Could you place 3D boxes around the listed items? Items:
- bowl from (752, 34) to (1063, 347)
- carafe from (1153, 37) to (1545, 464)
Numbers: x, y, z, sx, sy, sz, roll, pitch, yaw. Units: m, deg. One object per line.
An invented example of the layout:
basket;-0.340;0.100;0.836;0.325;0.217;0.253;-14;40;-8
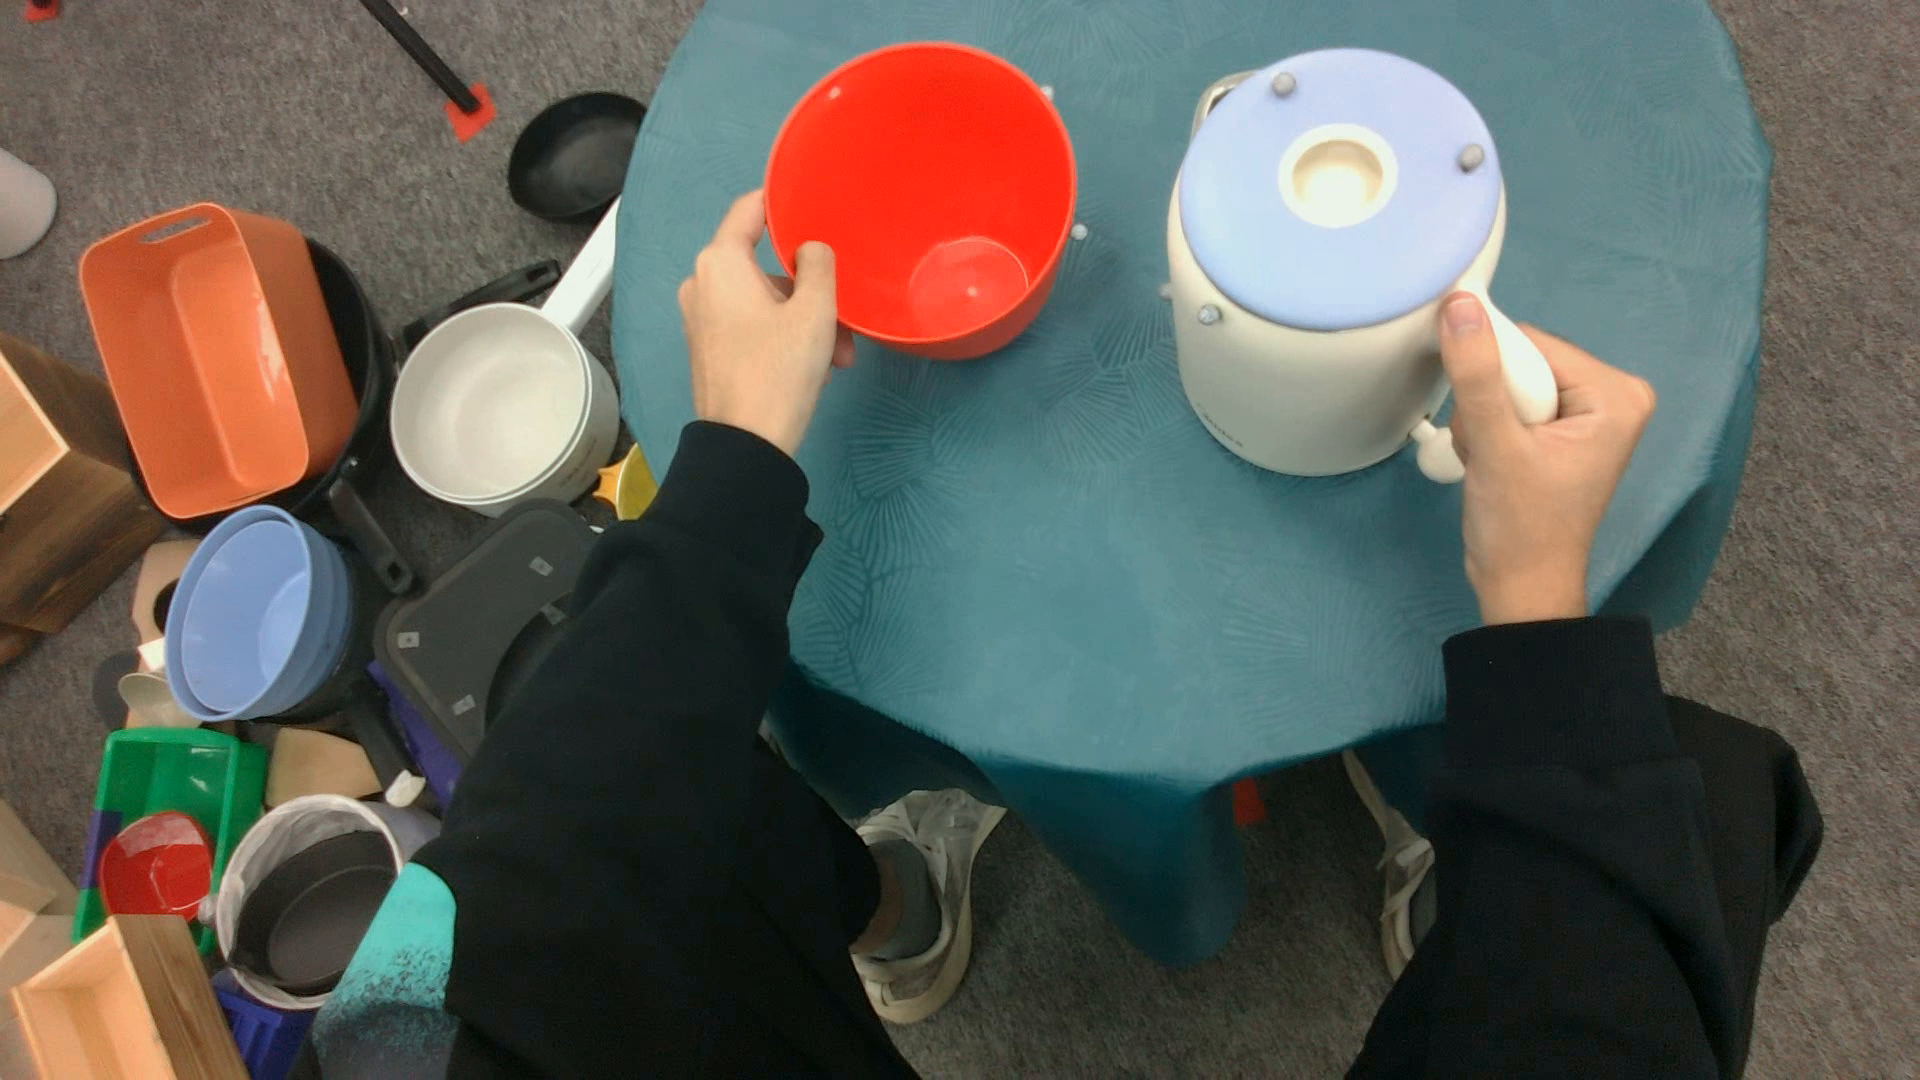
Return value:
bowl;-0.018;-0.159;0.685;0.148;0.104;0.148;-3;70;10
carafe;0.170;-0.104;0.601;0.132;0.182;0.191;-45;75;-3
